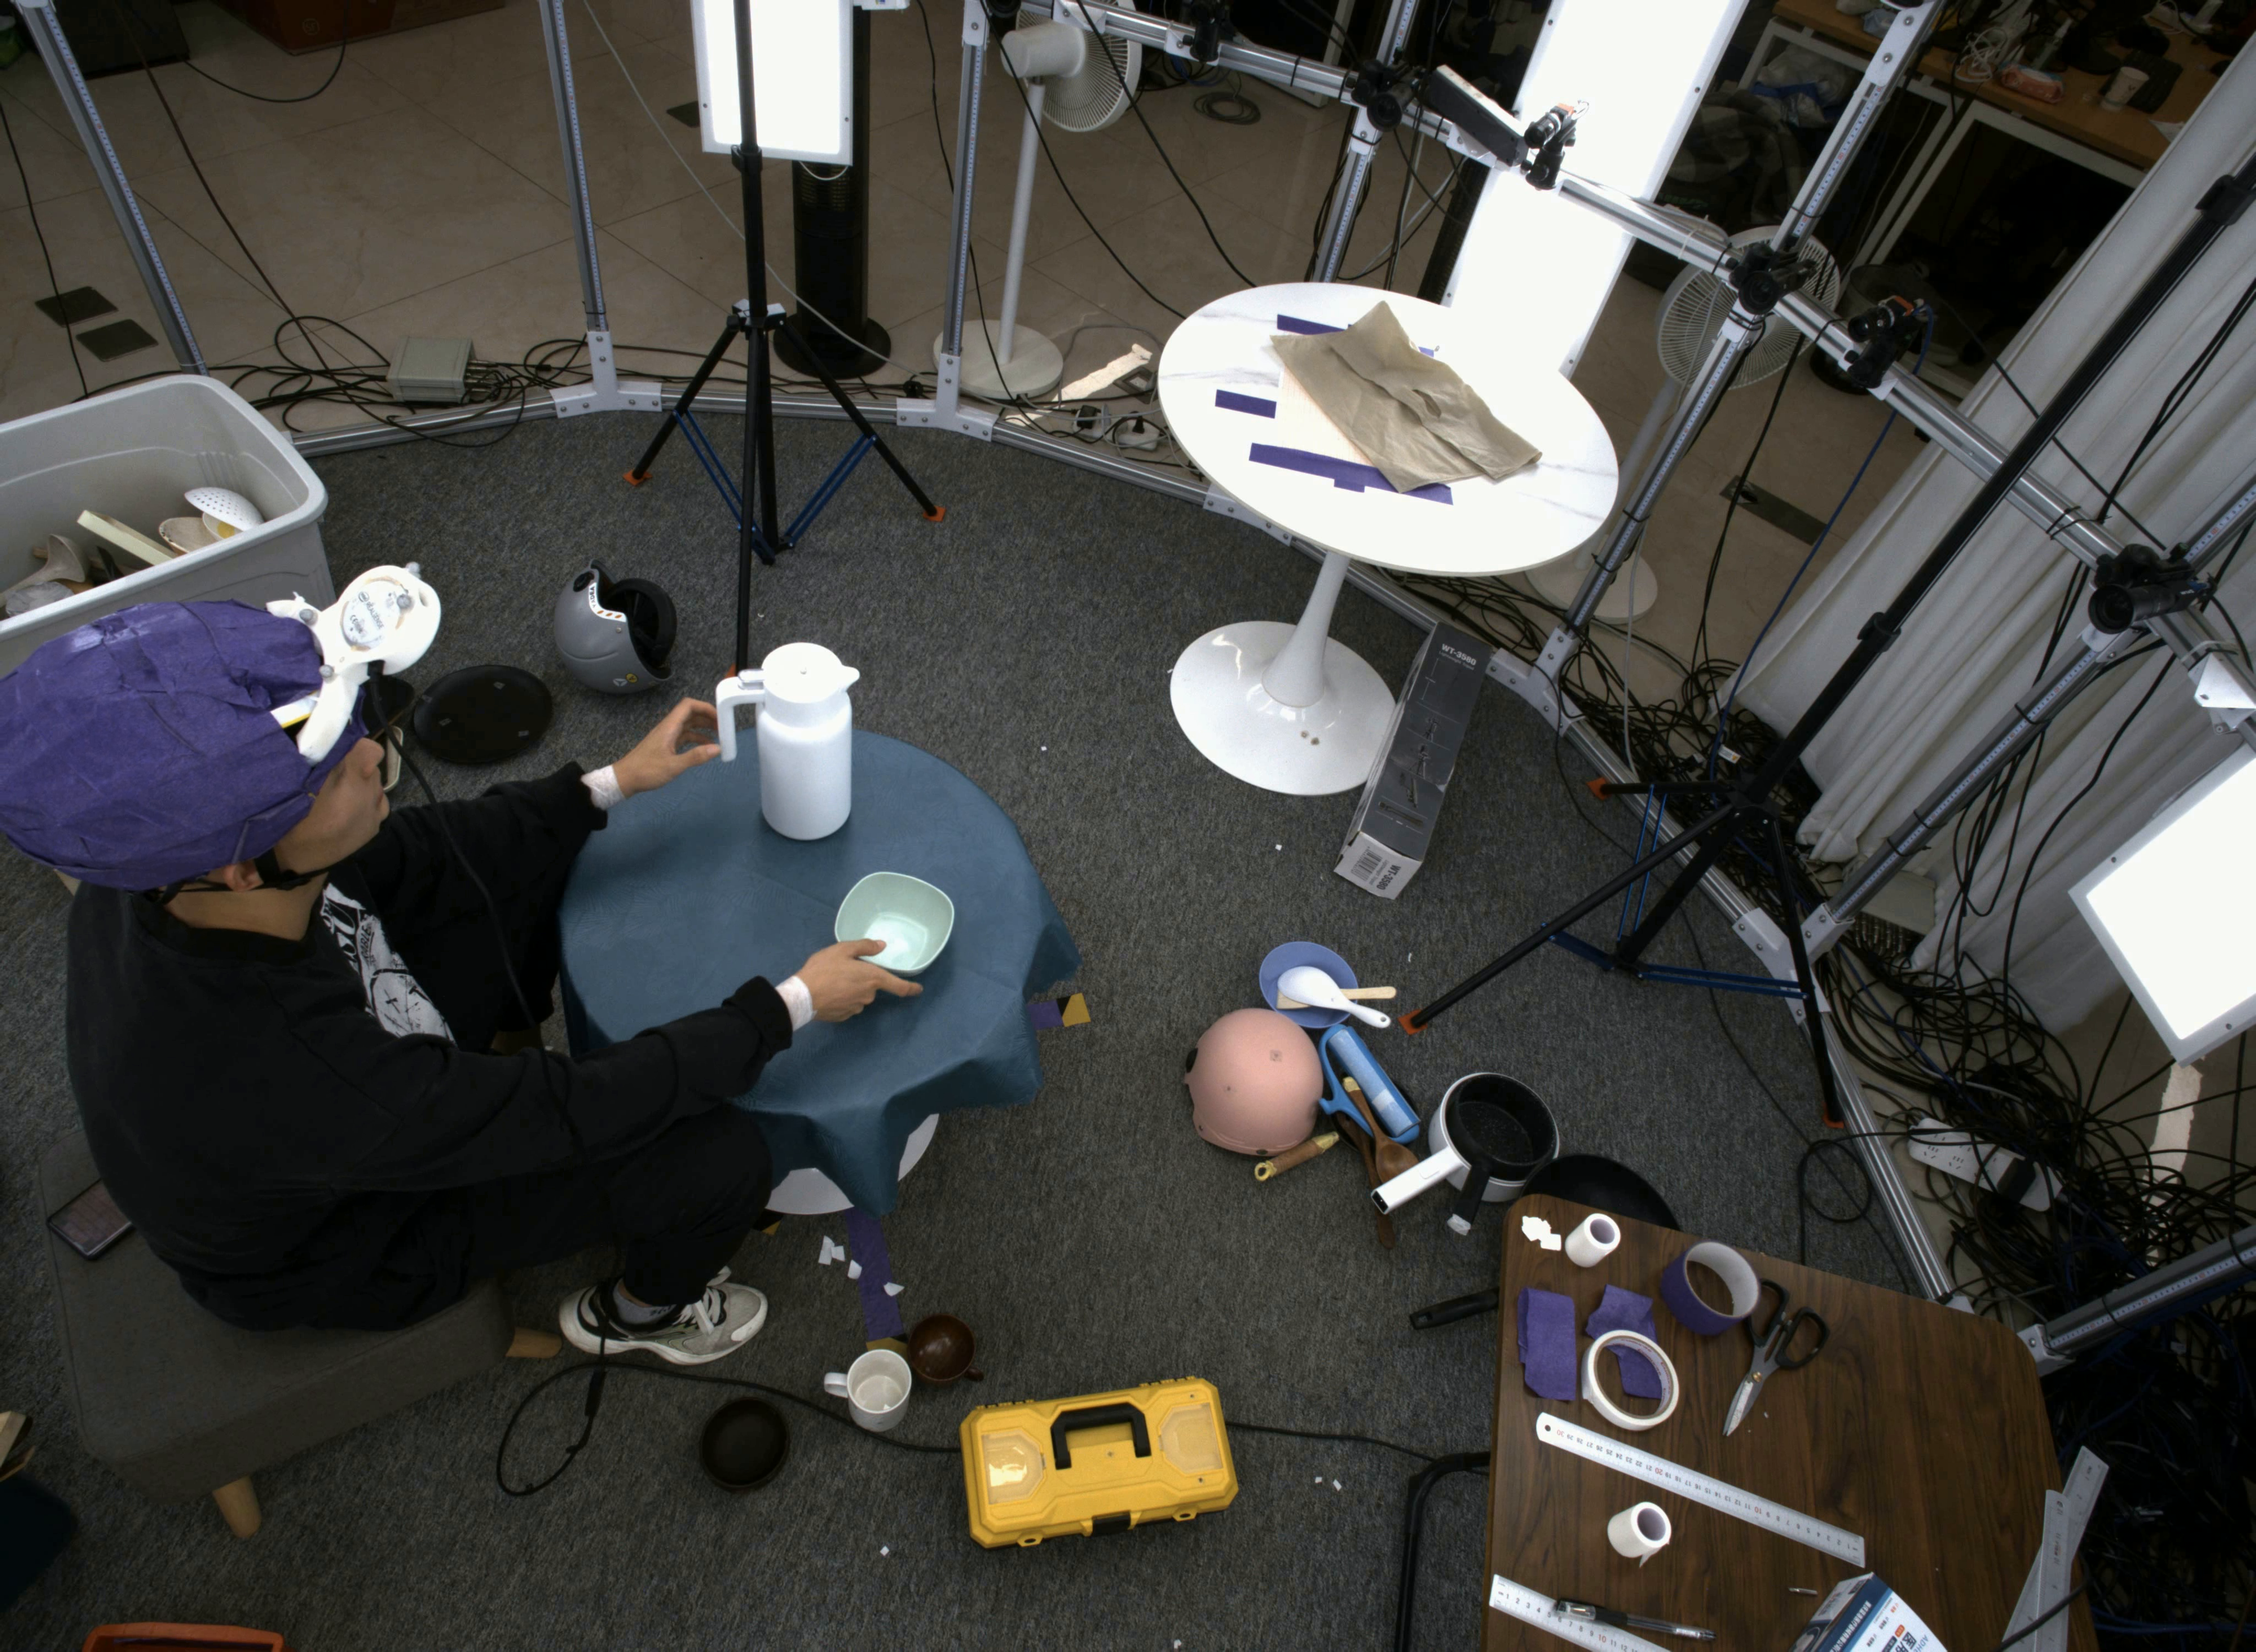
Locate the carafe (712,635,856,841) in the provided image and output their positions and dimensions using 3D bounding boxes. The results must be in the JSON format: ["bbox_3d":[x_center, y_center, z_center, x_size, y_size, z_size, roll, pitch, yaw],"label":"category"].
[{"bbox_3d":[-0.427,-0.104,1.626,0.173,0.274,0.121,-8,56,-18],"label":"carafe"}]

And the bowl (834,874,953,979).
[{"bbox_3d":[-0.292,0.134,1.621,0.151,0.060,0.149,8,52,-8],"label":"bowl"}]
